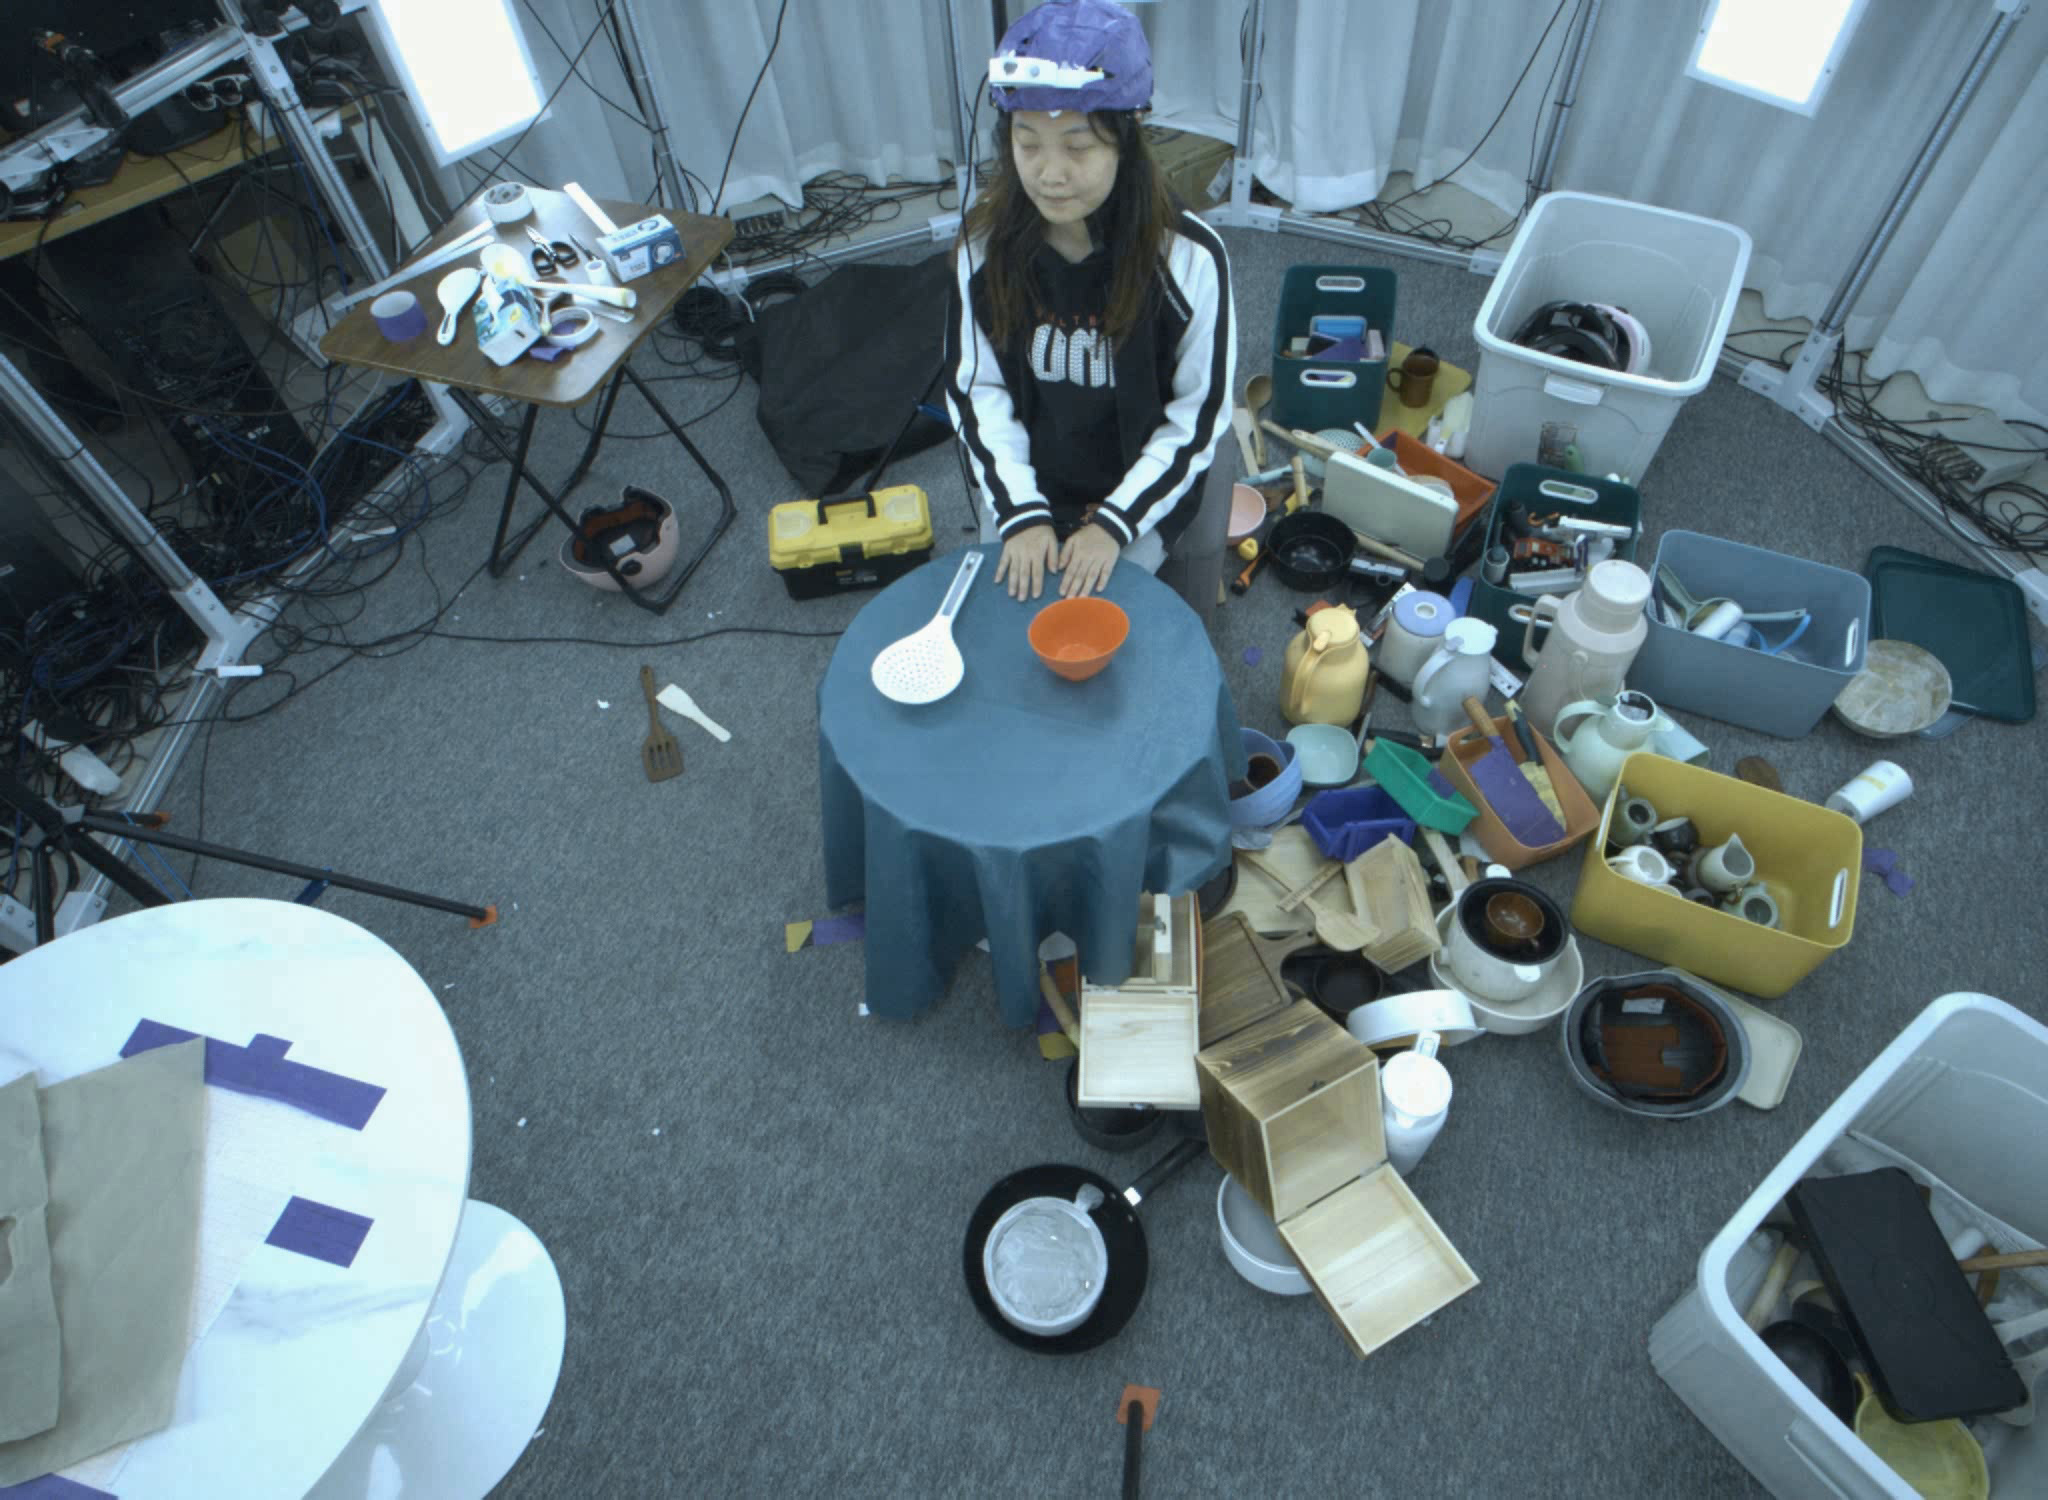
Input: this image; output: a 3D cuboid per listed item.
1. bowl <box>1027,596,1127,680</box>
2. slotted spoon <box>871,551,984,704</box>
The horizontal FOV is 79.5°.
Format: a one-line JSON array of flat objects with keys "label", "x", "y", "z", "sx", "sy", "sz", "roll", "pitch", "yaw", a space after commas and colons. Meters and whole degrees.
[{"label": "bowl", "x": 0.081, "y": -0.153, "z": 1.832, "sx": 0.148, "sy": 0.106, "sz": 0.146, "roll": -2, "pitch": 54, "yaw": 4}, {"label": "slotted spoon", "x": -0.129, "y": -0.195, "z": 1.902, "sx": 0.135, "sy": 0.046, "sz": 0.348, "roll": 13, "pitch": 56, "yaw": 10}]
